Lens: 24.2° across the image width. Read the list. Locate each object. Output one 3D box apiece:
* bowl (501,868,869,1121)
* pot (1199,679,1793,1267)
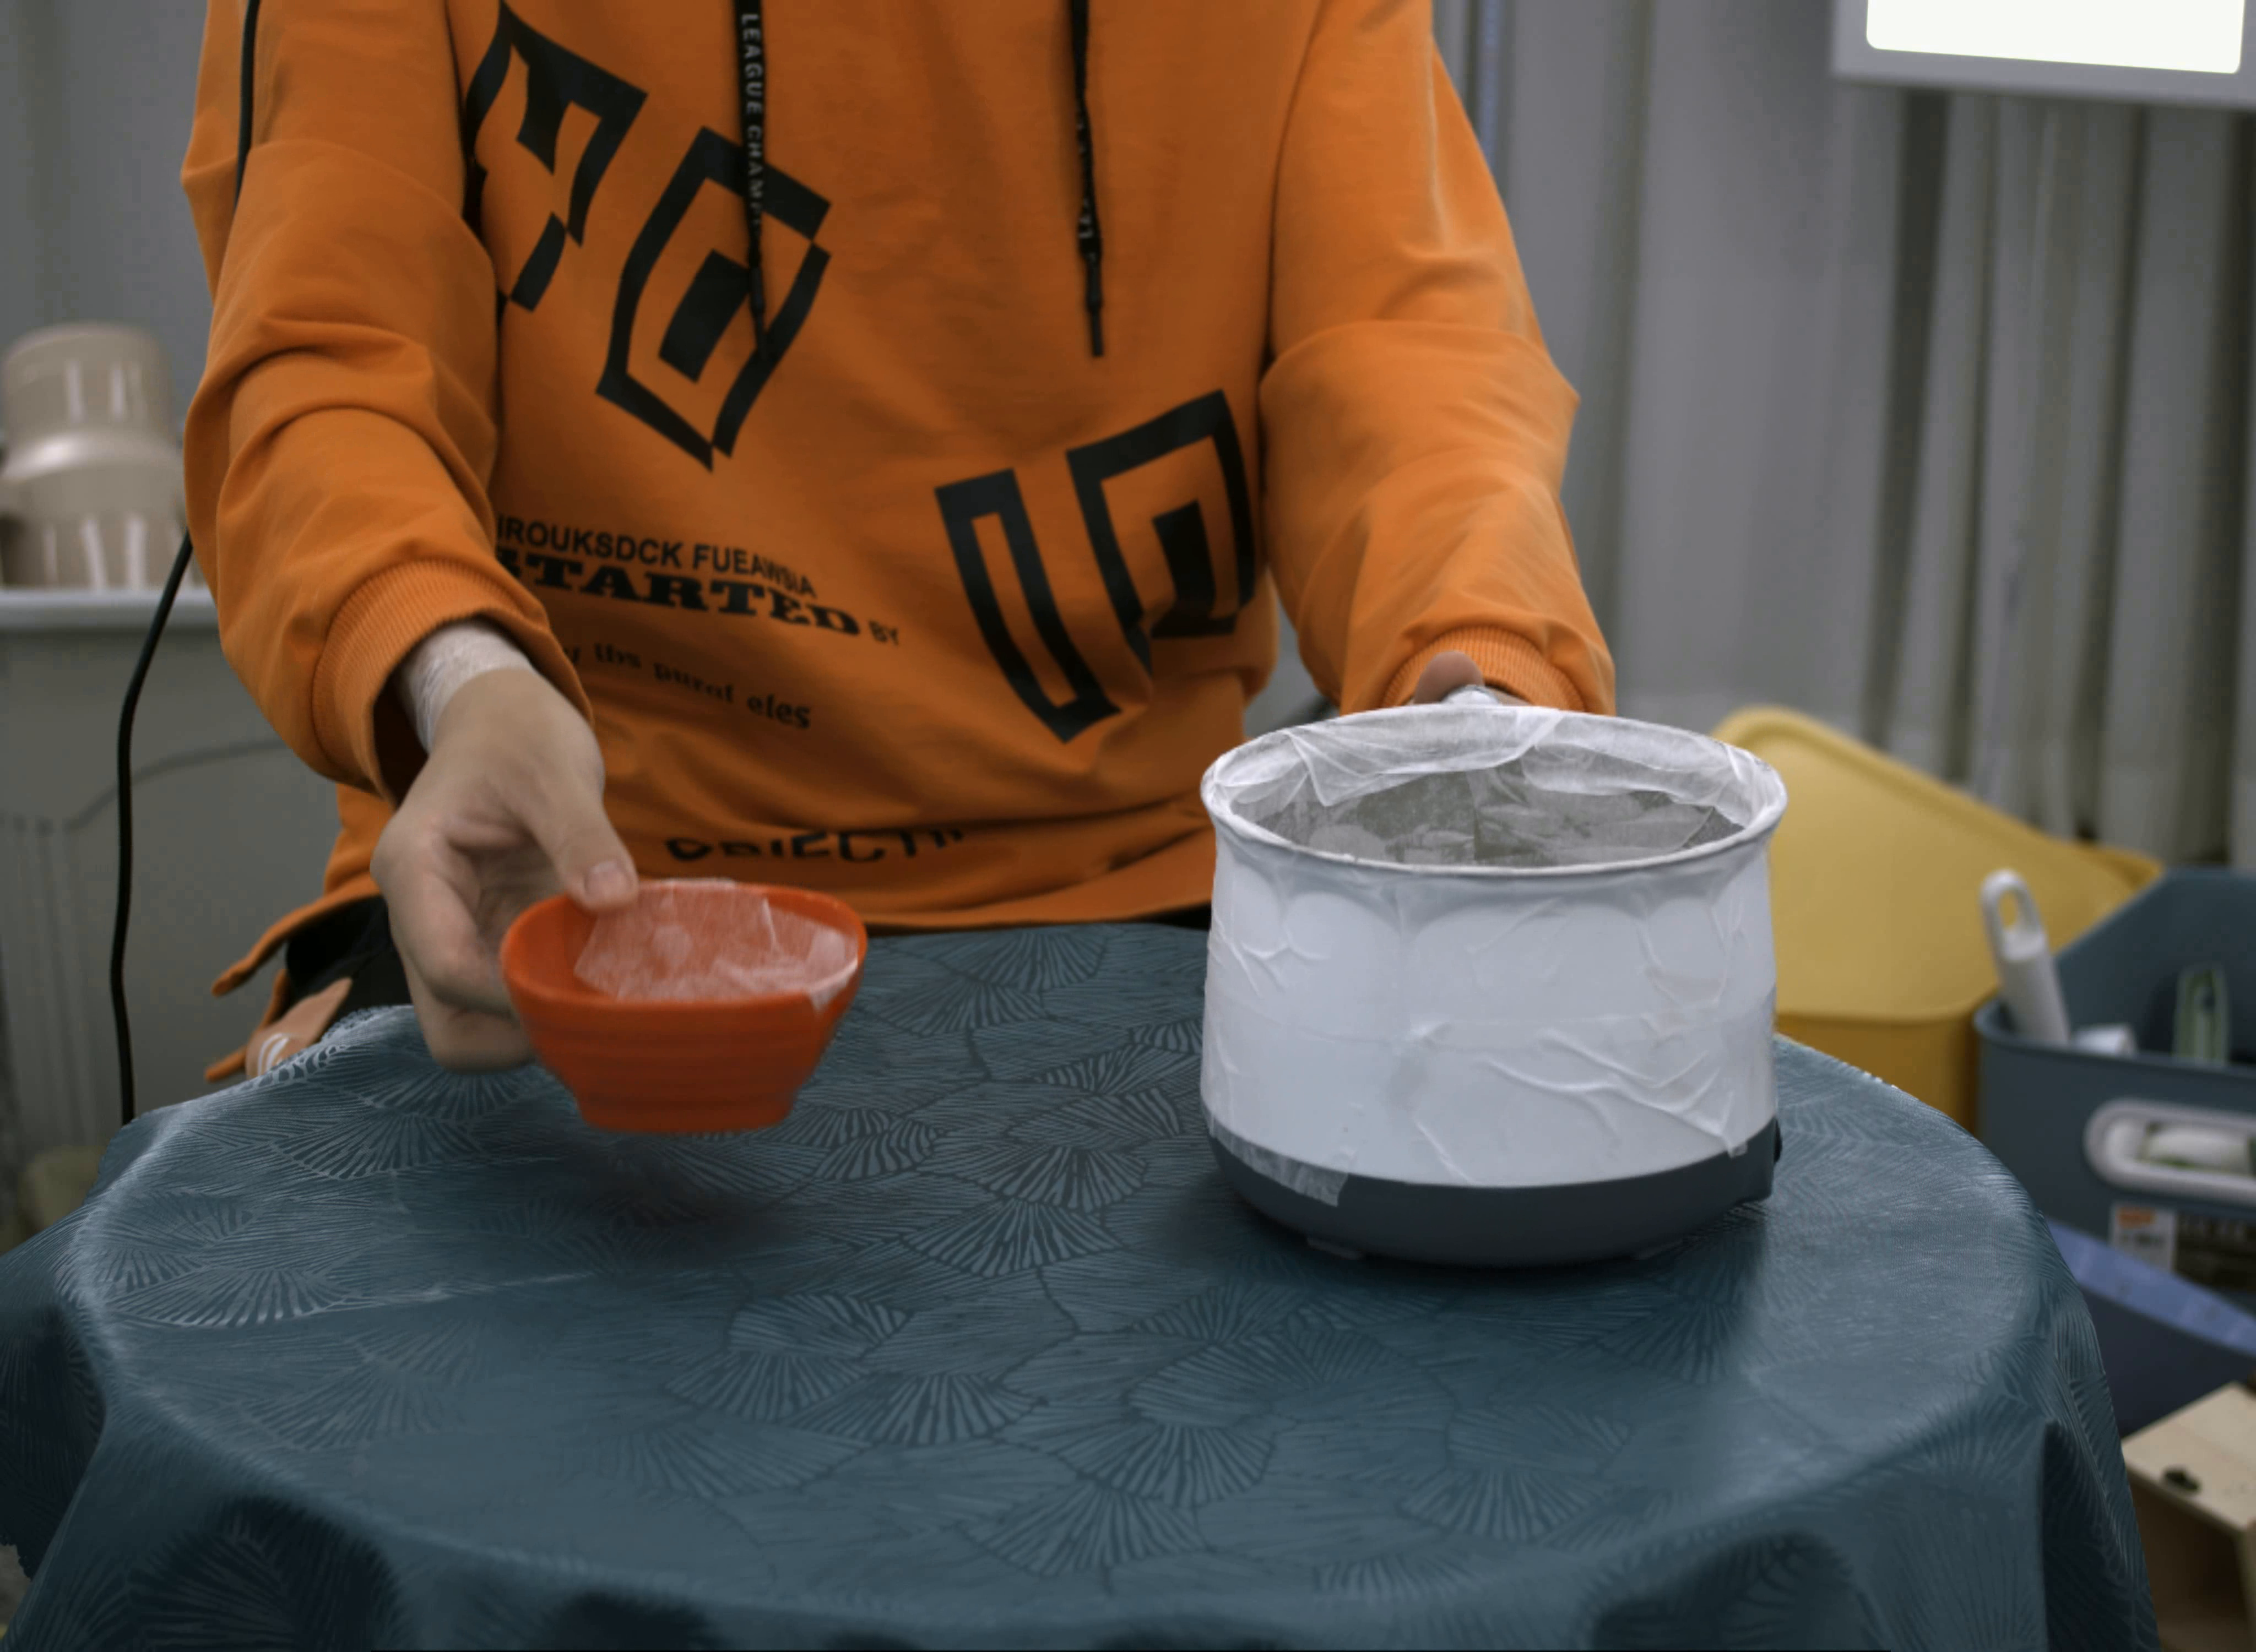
[{"bbox_3d":[-0.132,0.053,1.581,0.118,0.052,0.118,0,19,0],"label":"bowl"},{"bbox_3d":[0.109,0.040,1.623,0.178,0.138,0.232,0,17,-2],"label":"pot"}]
